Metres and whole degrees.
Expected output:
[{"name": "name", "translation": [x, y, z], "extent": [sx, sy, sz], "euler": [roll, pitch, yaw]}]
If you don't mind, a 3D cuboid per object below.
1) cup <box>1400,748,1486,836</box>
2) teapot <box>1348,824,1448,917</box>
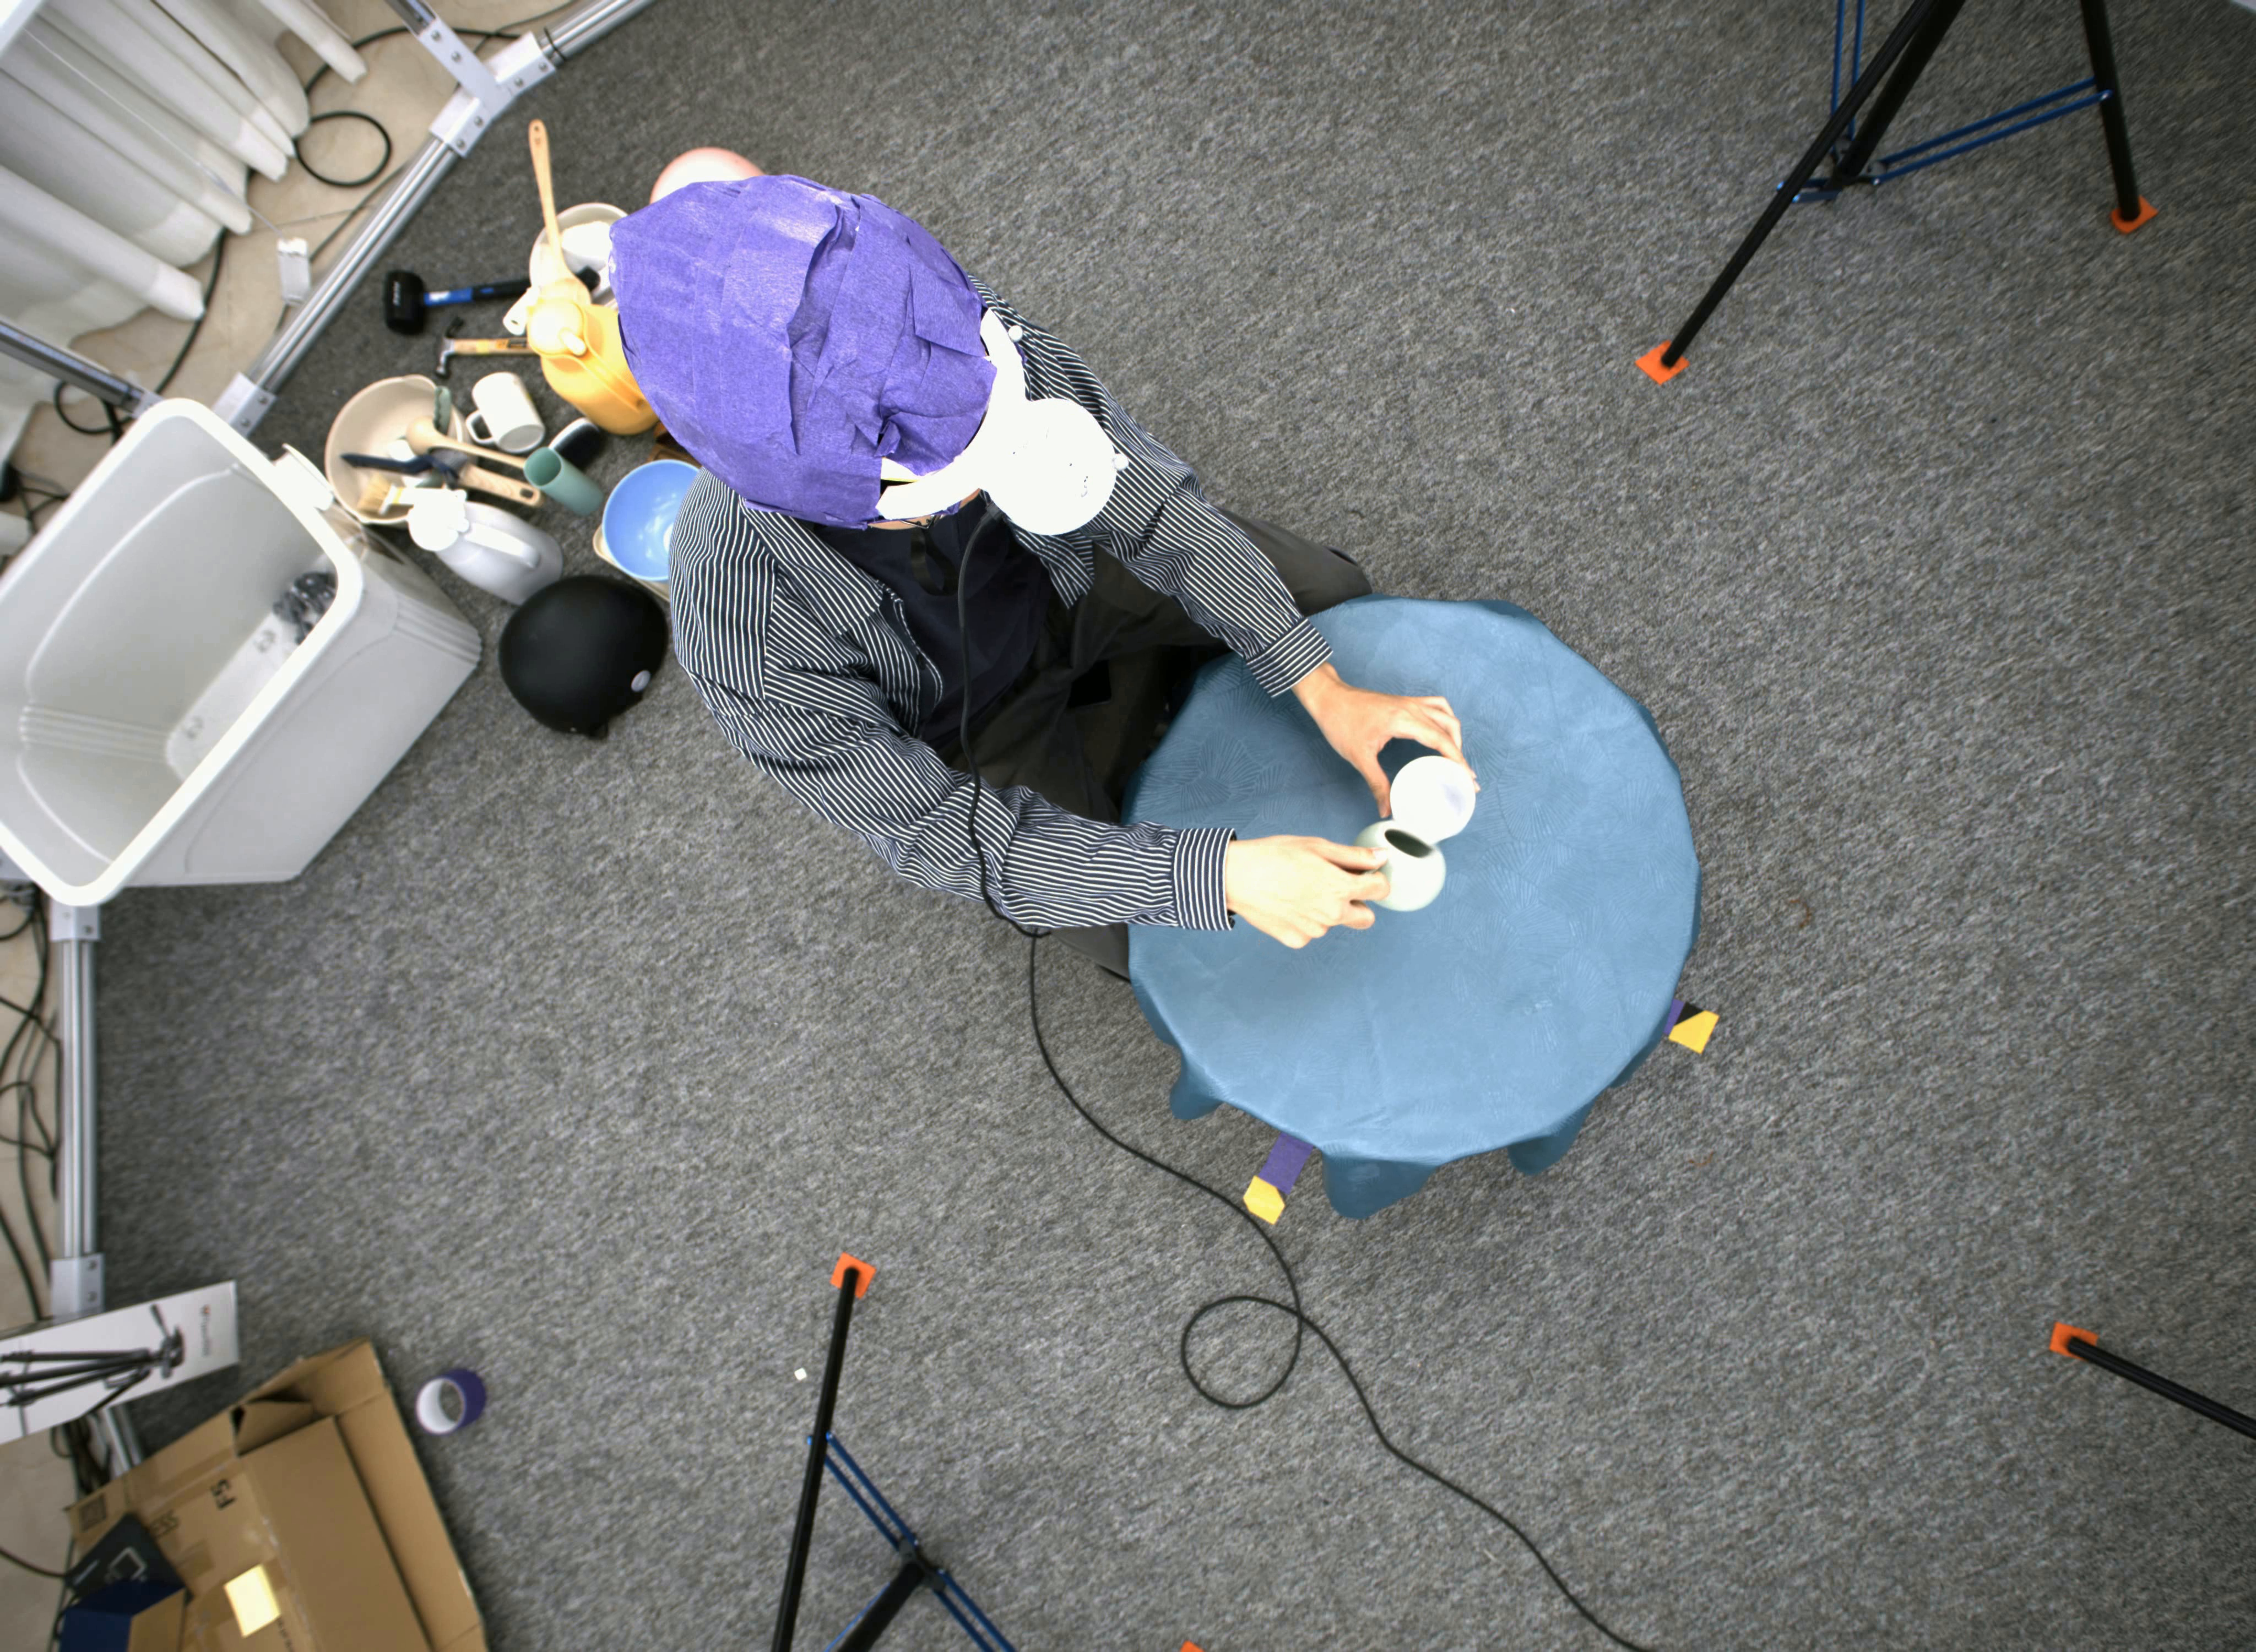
[{"name": "cup", "translation": [0.312, -0.032, 1.376], "extent": [0.082, 0.125, 0.081], "euler": [0, 87, 9]}, {"name": "teapot", "translation": [0.238, 0.042, 1.242], "extent": [0.090, 0.126, 0.062], "euler": [43, 127, 26]}]
